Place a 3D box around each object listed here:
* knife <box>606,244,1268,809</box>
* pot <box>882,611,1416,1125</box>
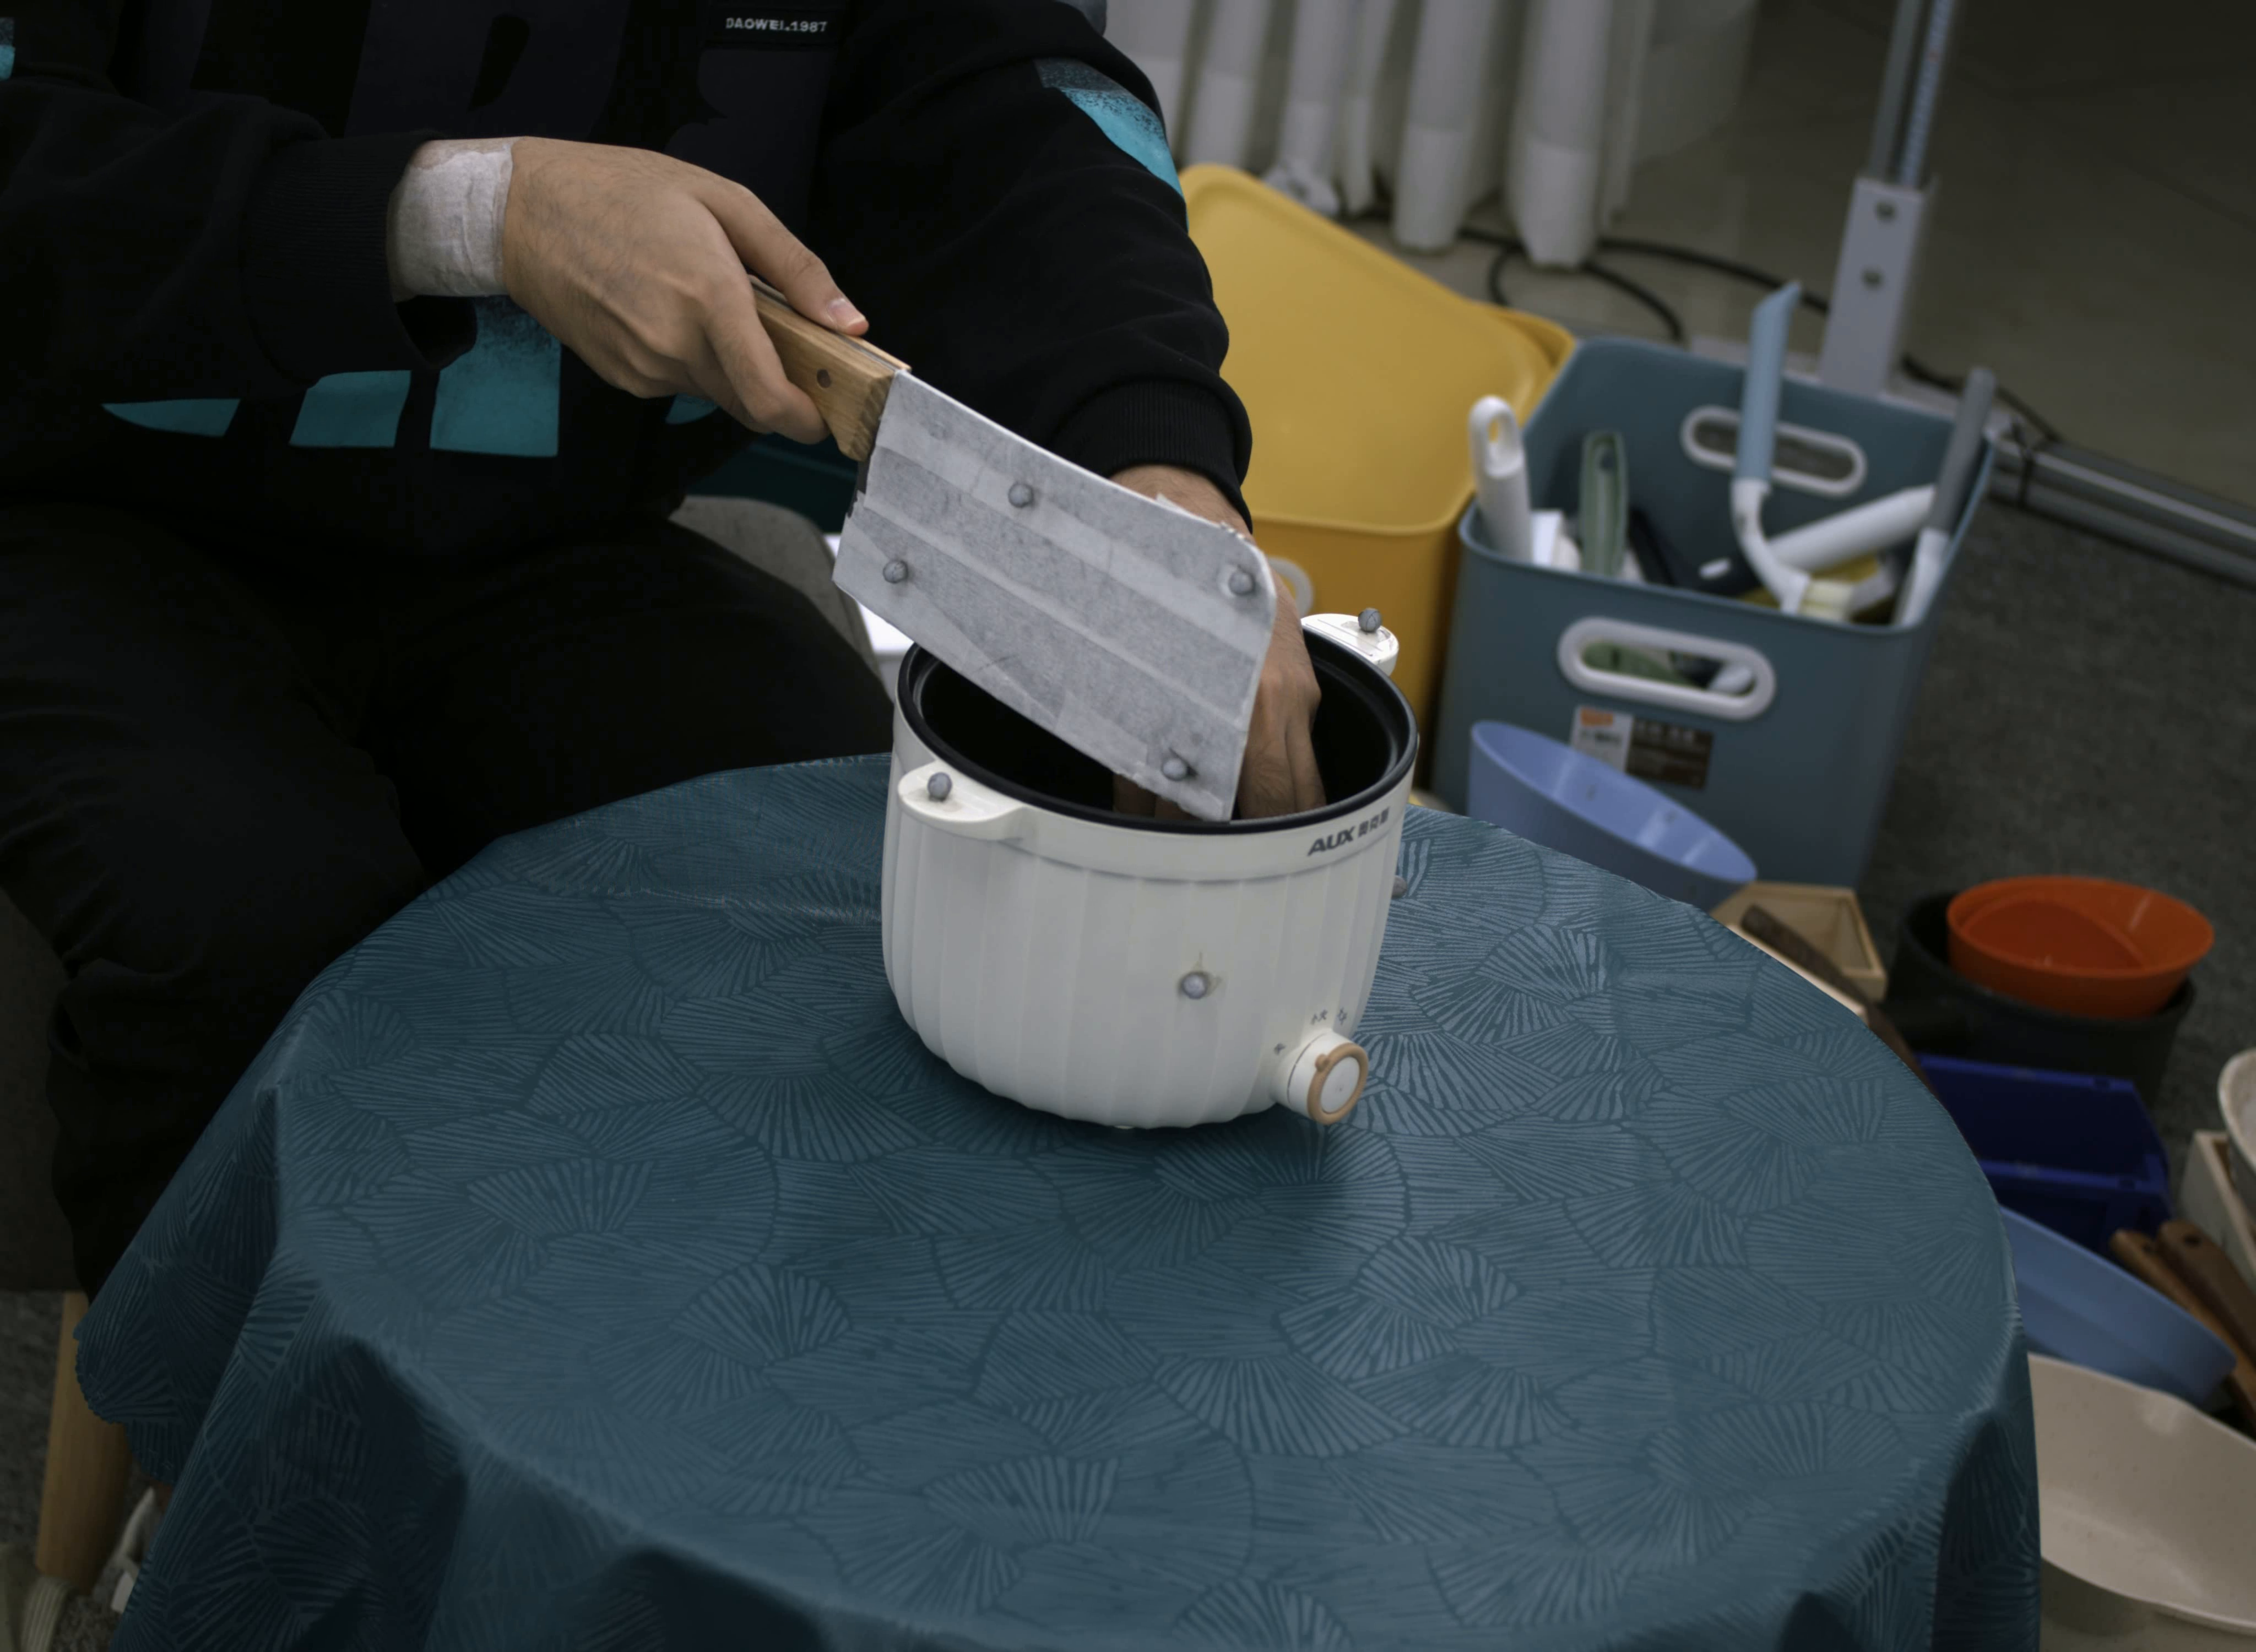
[{"bbox_3d":[-0.068,-0.117,1.820,0.317,0.113,0.021,36,32,29],"label":"knife"},{"bbox_3d":[0.008,0.017,1.861,0.192,0.142,0.239,24,32,36],"label":"pot"}]
